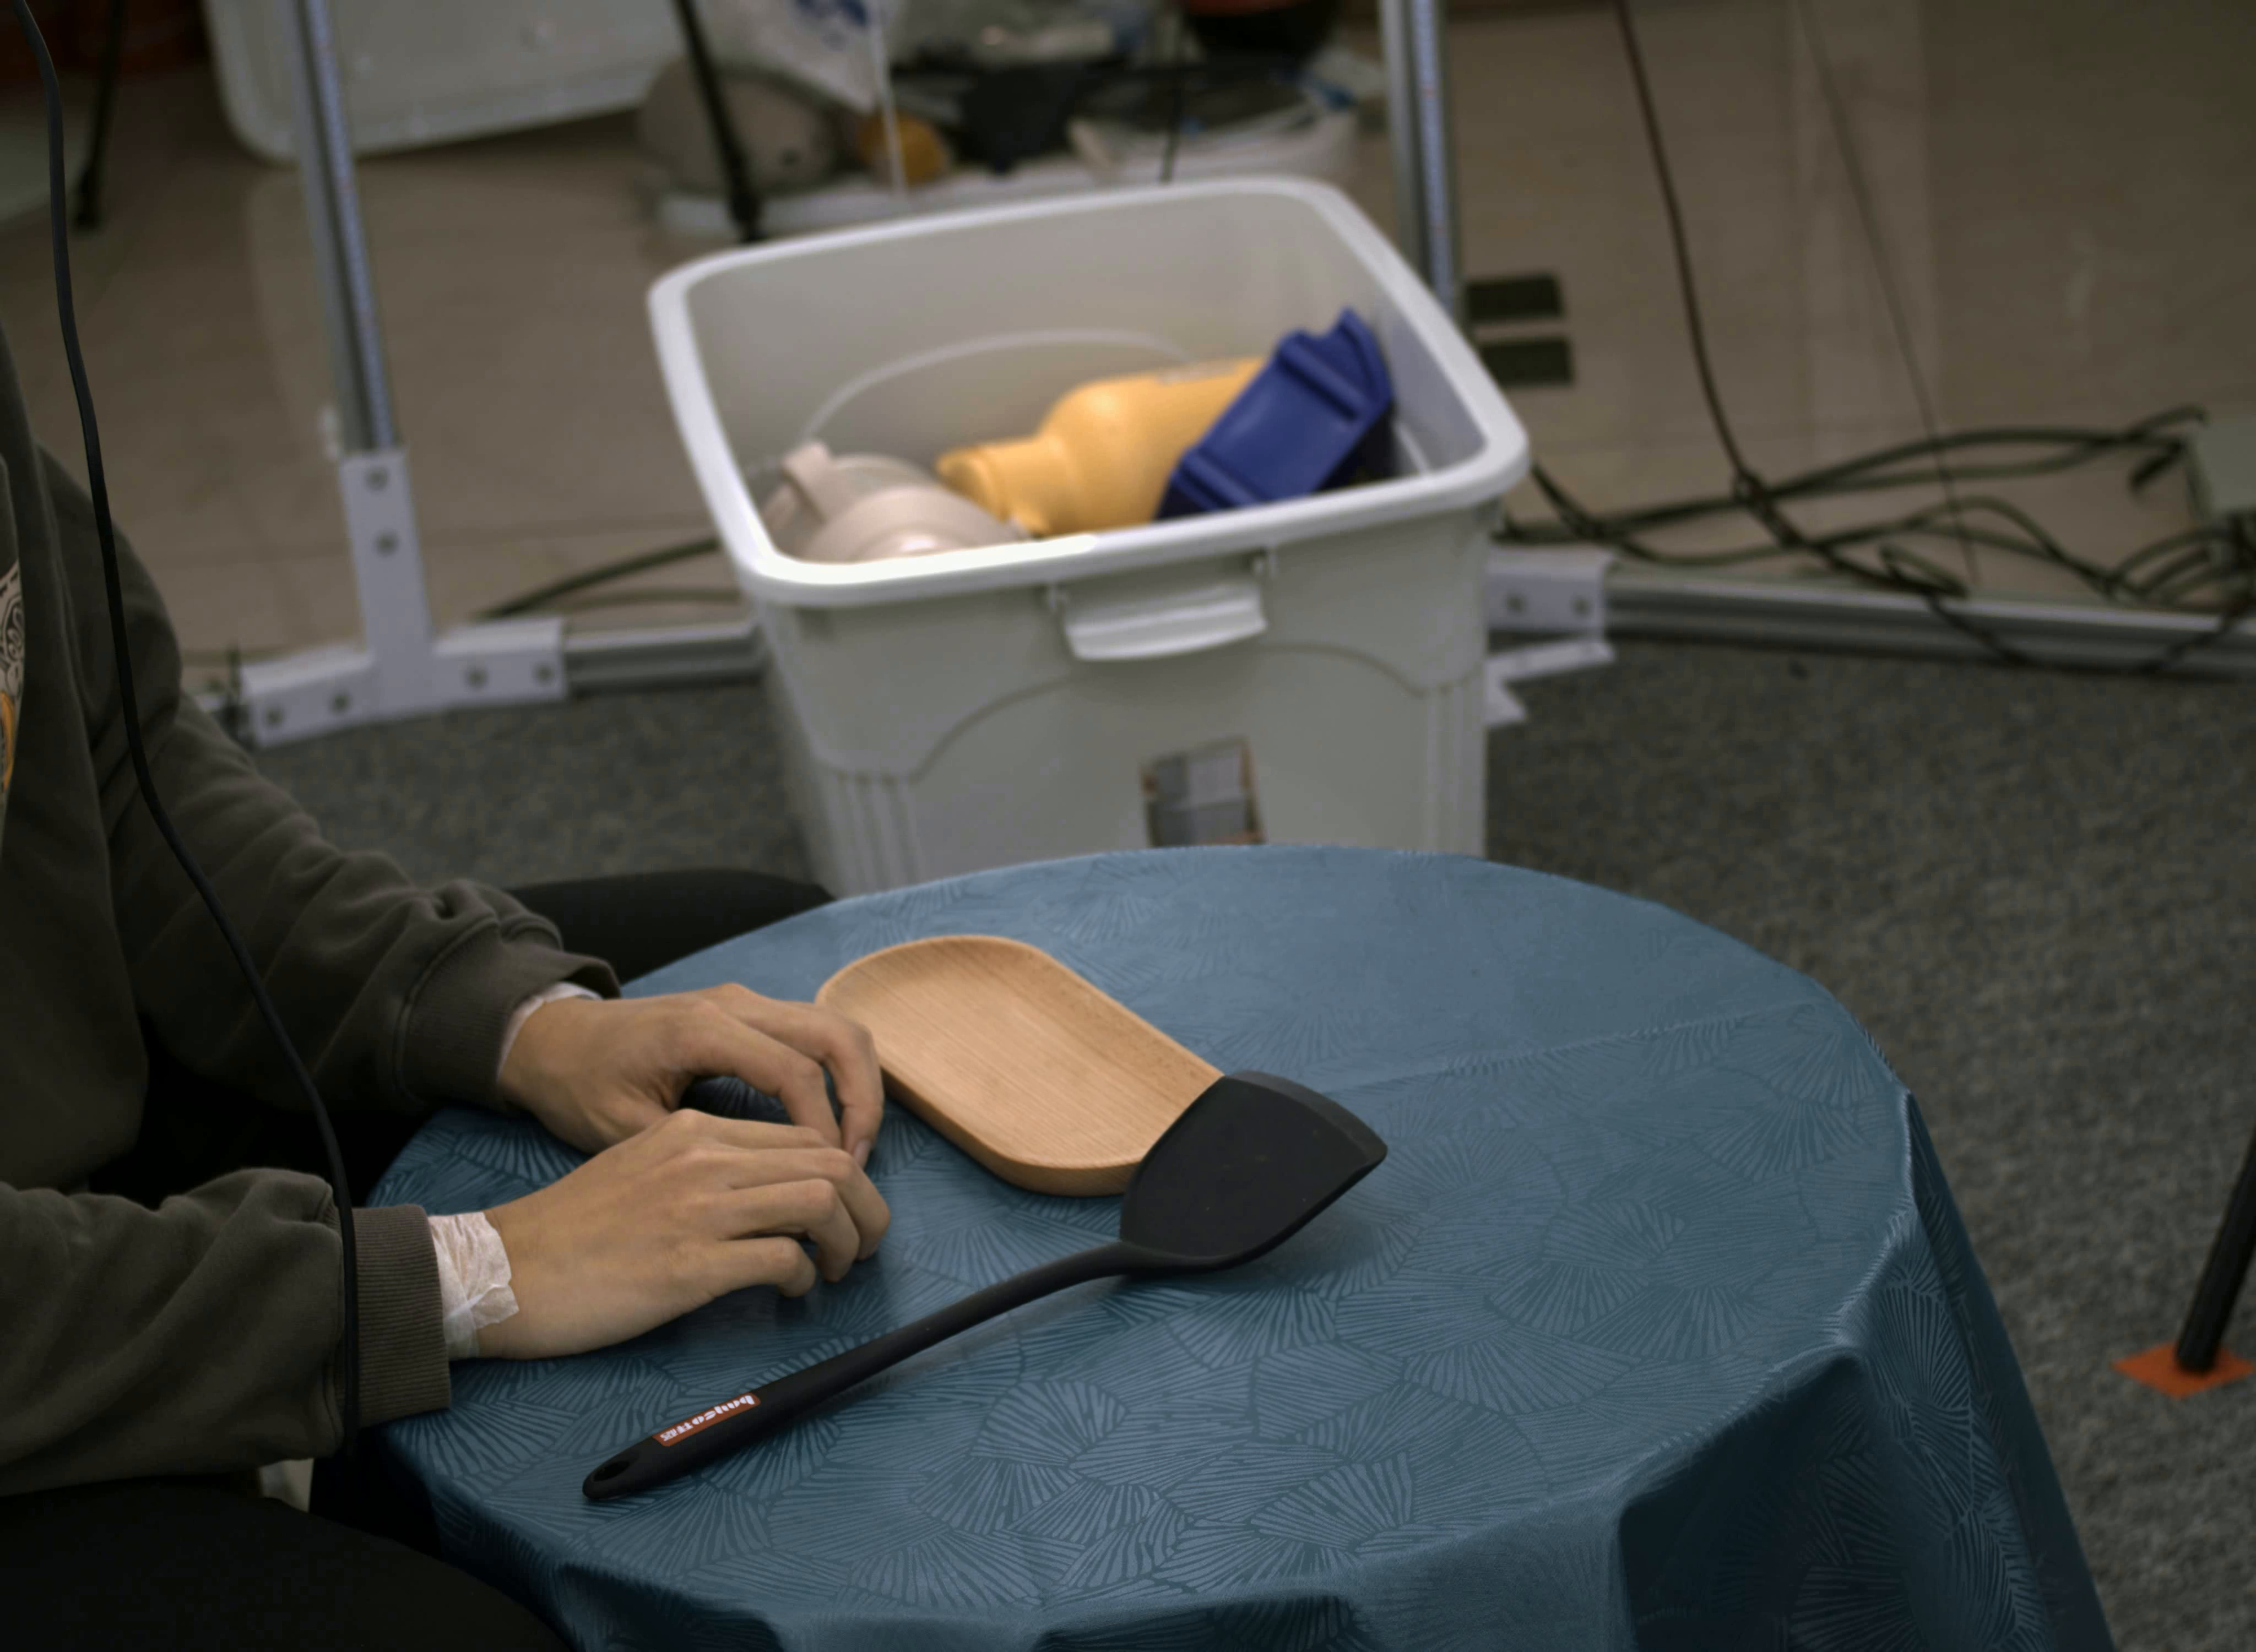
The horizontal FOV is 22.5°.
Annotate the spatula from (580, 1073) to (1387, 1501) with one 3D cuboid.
[{"bbox_3d":[-0.057,0.170,2.050,0.324,0.041,0.099,-20,27,-27],"label":"spatula"}]

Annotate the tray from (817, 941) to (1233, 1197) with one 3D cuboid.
[{"bbox_3d":[-0.042,0.094,2.234,0.101,0.020,0.228,-20,29,-25],"label":"tray"}]
